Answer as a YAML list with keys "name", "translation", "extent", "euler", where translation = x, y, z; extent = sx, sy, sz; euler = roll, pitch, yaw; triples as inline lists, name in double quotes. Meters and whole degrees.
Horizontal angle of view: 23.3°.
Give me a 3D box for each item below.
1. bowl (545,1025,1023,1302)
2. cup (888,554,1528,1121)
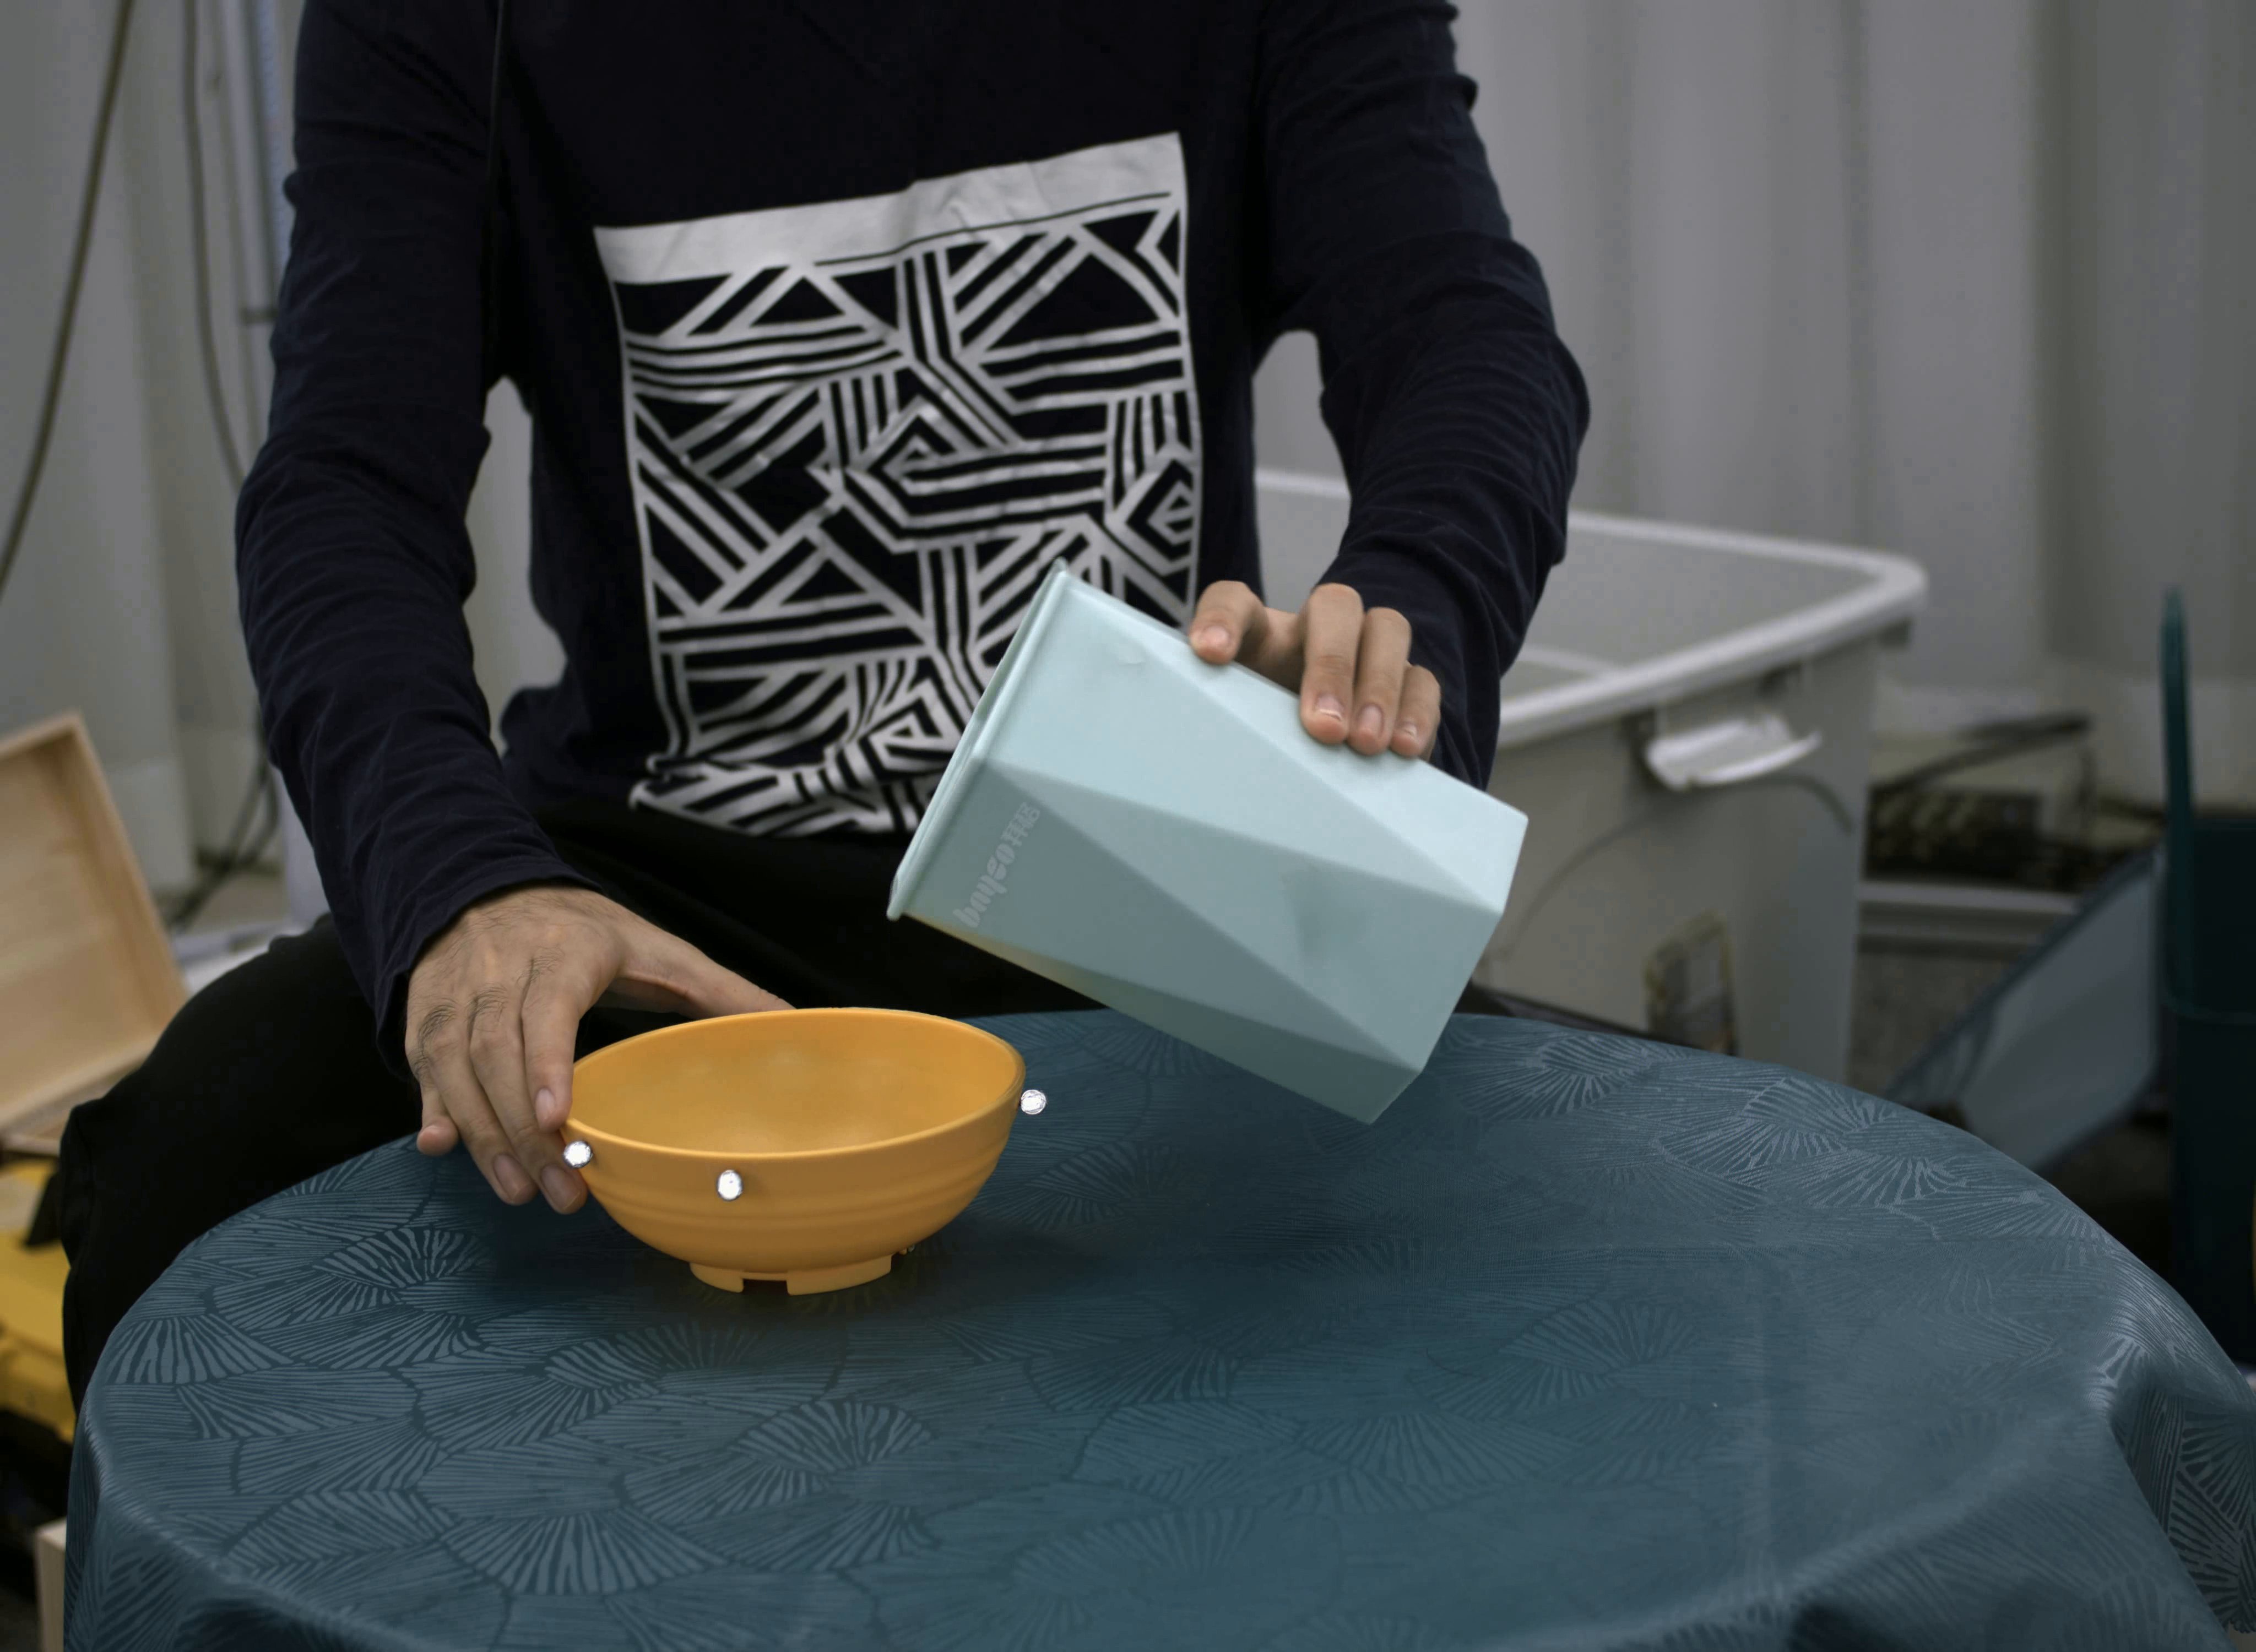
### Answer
- name: "bowl"
  translation: [-0.103, 0.107, 1.663]
  extent: [0.145, 0.060, 0.146]
  euler: [-2, 12, 0]
- name: "cup"
  translation: [0.025, 0.007, 1.637]
  extent: [0.162, 0.130, 0.116]
  euler: [26, 33, -2]
